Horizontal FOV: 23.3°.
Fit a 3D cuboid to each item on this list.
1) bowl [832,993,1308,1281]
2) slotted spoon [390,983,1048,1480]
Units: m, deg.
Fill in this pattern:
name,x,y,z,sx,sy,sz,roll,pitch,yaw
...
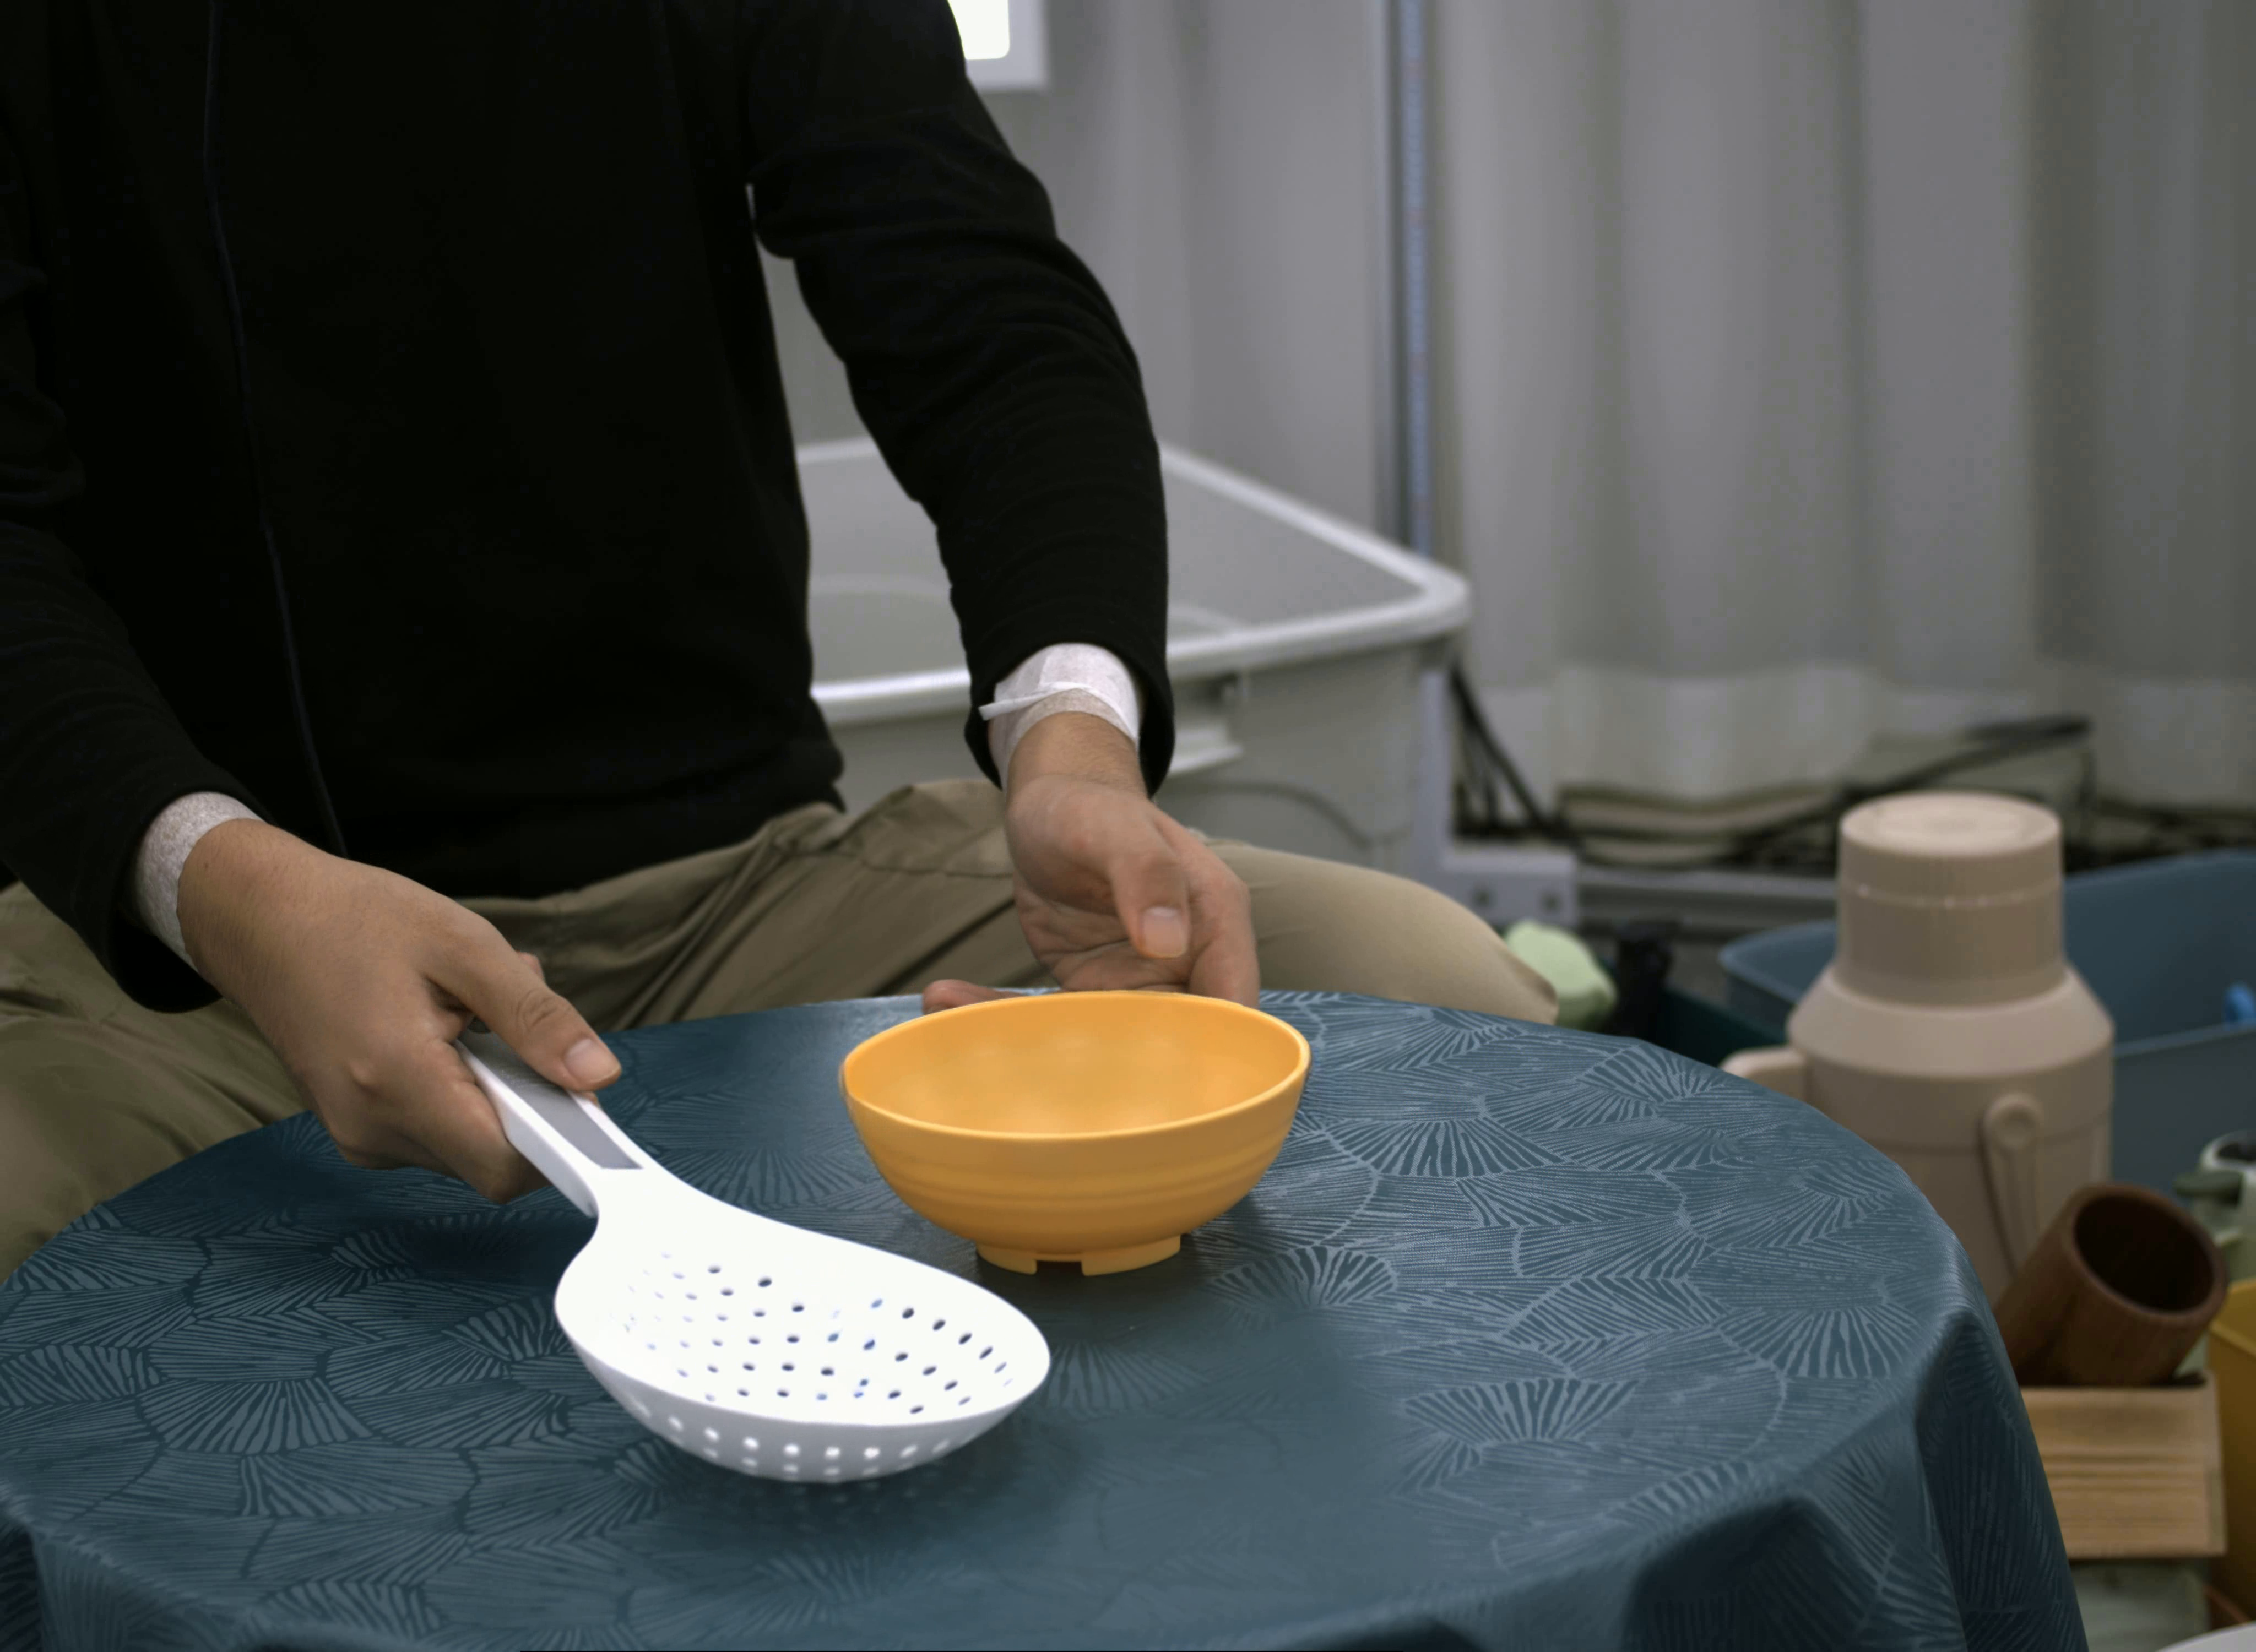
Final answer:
name,x,y,z,sx,sy,sz,roll,pitch,yaw
bowl,-0.017,0.100,1.664,0.145,0.060,0.146,-1,15,0
slotted spoon,-0.141,0.110,1.584,0.135,0.045,0.354,0,22,-29
